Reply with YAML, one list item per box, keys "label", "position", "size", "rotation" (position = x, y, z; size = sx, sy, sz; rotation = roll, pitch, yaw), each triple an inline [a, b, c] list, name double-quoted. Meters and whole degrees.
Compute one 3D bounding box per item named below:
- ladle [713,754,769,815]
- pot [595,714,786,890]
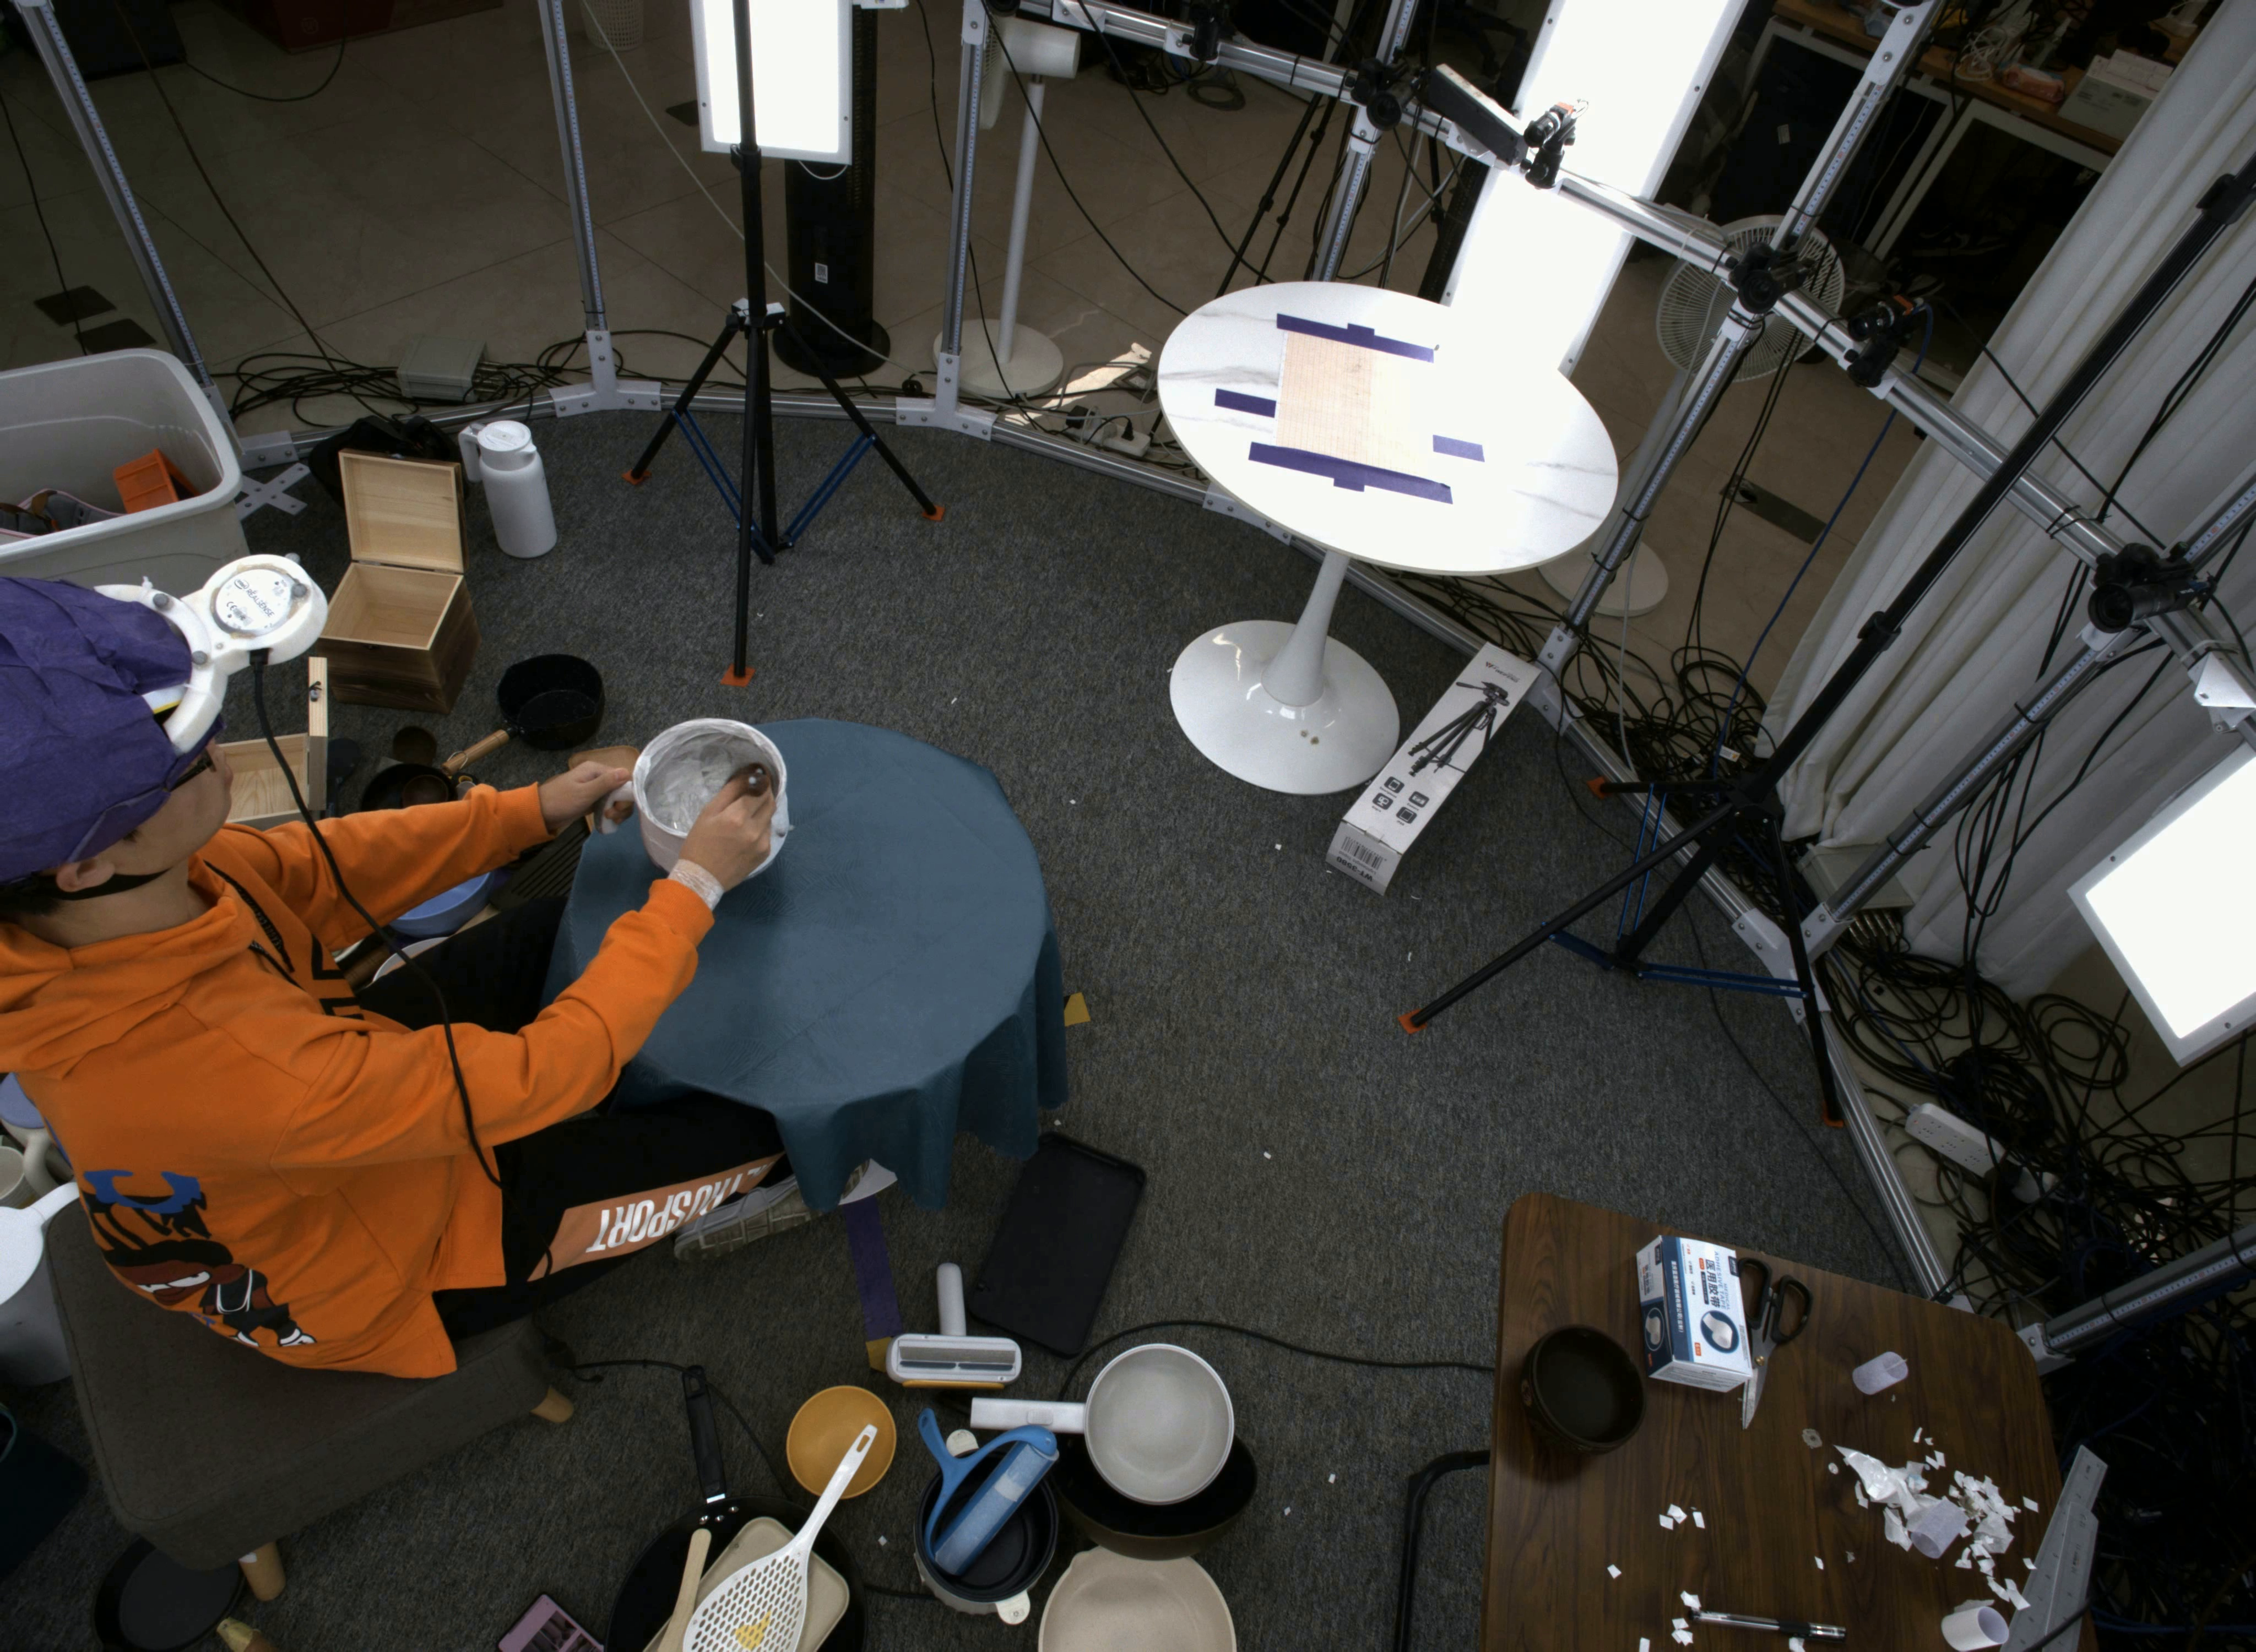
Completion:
- label: "ladle"
  position: [-0.434, -0.054, 1.444]
  size: [0.066, 0.256, 0.077]
  rotation: [30, 80, -12]
- label: "pot"
  position: [-0.529, -0.025, 1.547]
  size: [0.234, 0.139, 0.175]
  rotation: [1, 57, -14]
